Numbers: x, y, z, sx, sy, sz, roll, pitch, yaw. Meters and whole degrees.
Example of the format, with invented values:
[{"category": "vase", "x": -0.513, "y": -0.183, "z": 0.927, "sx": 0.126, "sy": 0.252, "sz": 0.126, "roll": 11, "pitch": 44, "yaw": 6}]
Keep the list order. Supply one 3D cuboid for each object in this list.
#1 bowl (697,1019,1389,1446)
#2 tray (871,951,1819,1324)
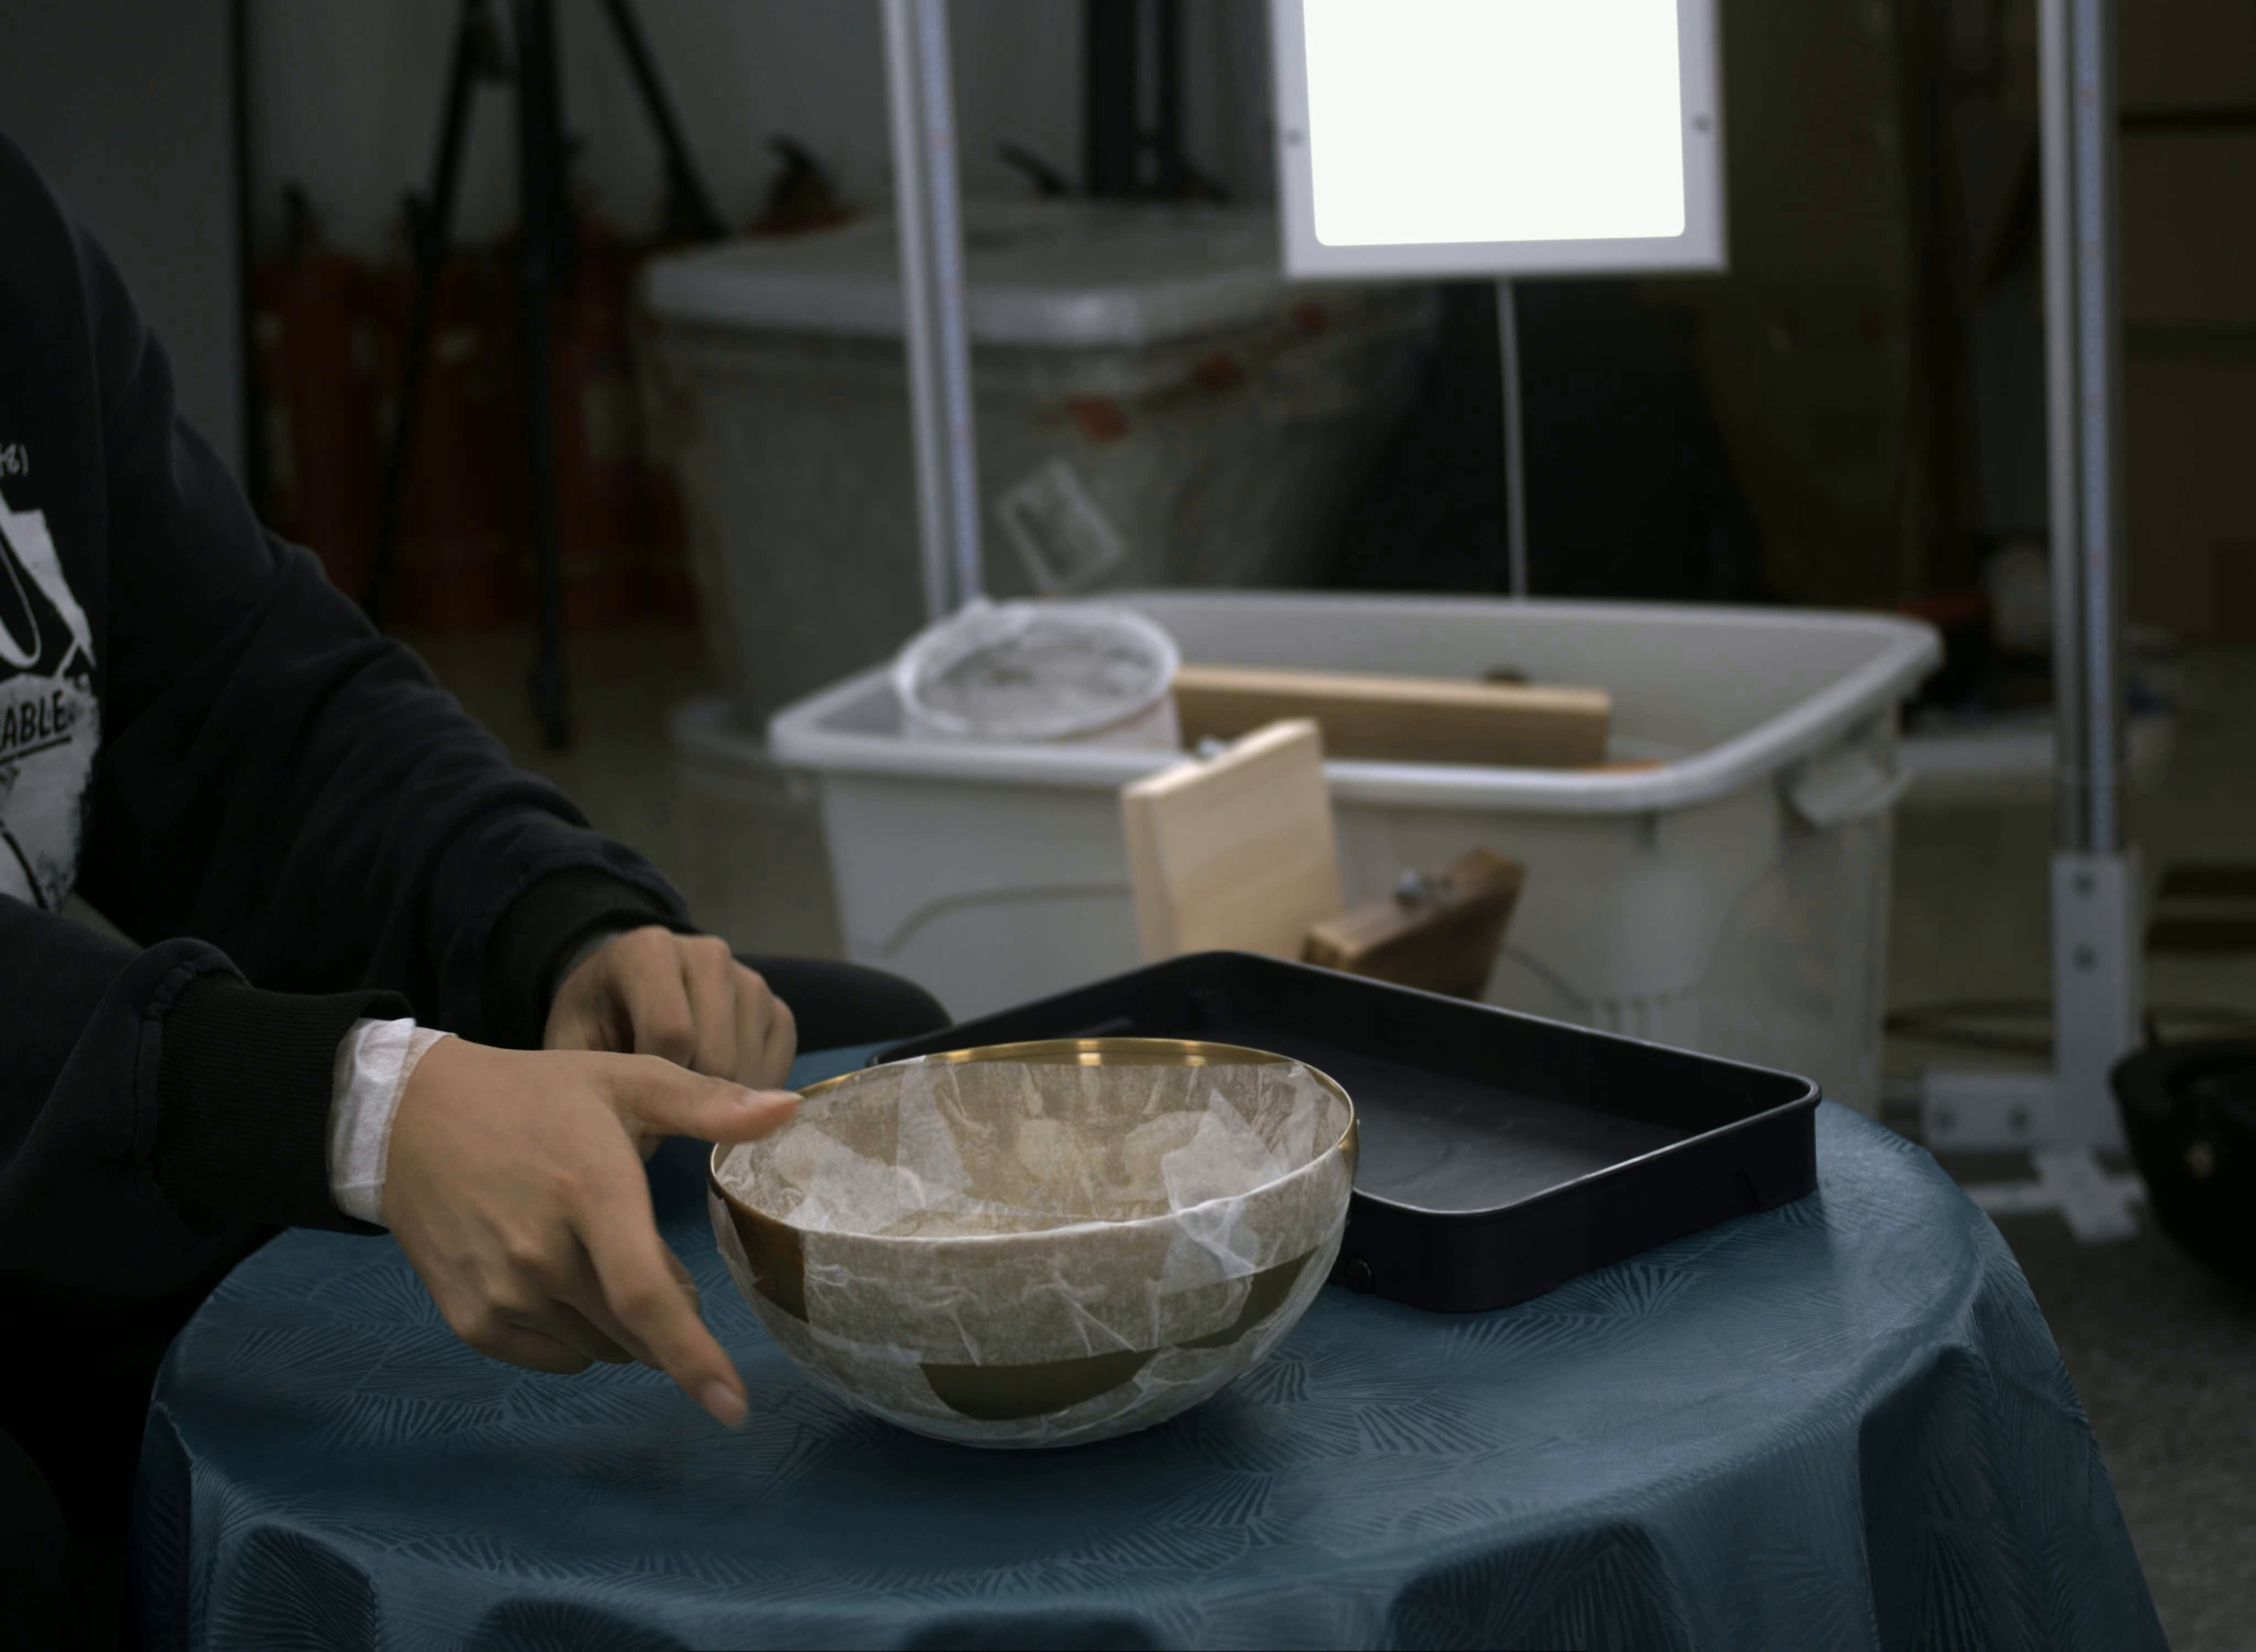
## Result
[{"category": "bowl", "x": -0.024, "y": 0.132, "z": 1.683, "sx": 0.214, "sy": 0.095, "sz": 0.214, "roll": -6, "pitch": 15, "yaw": 0}, {"category": "tray", "x": 0.071, "y": 0.103, "z": 1.902, "sx": 0.179, "sy": 0.037, "sz": 0.324, "roll": -14, "pitch": 17, "yaw": -37}]
